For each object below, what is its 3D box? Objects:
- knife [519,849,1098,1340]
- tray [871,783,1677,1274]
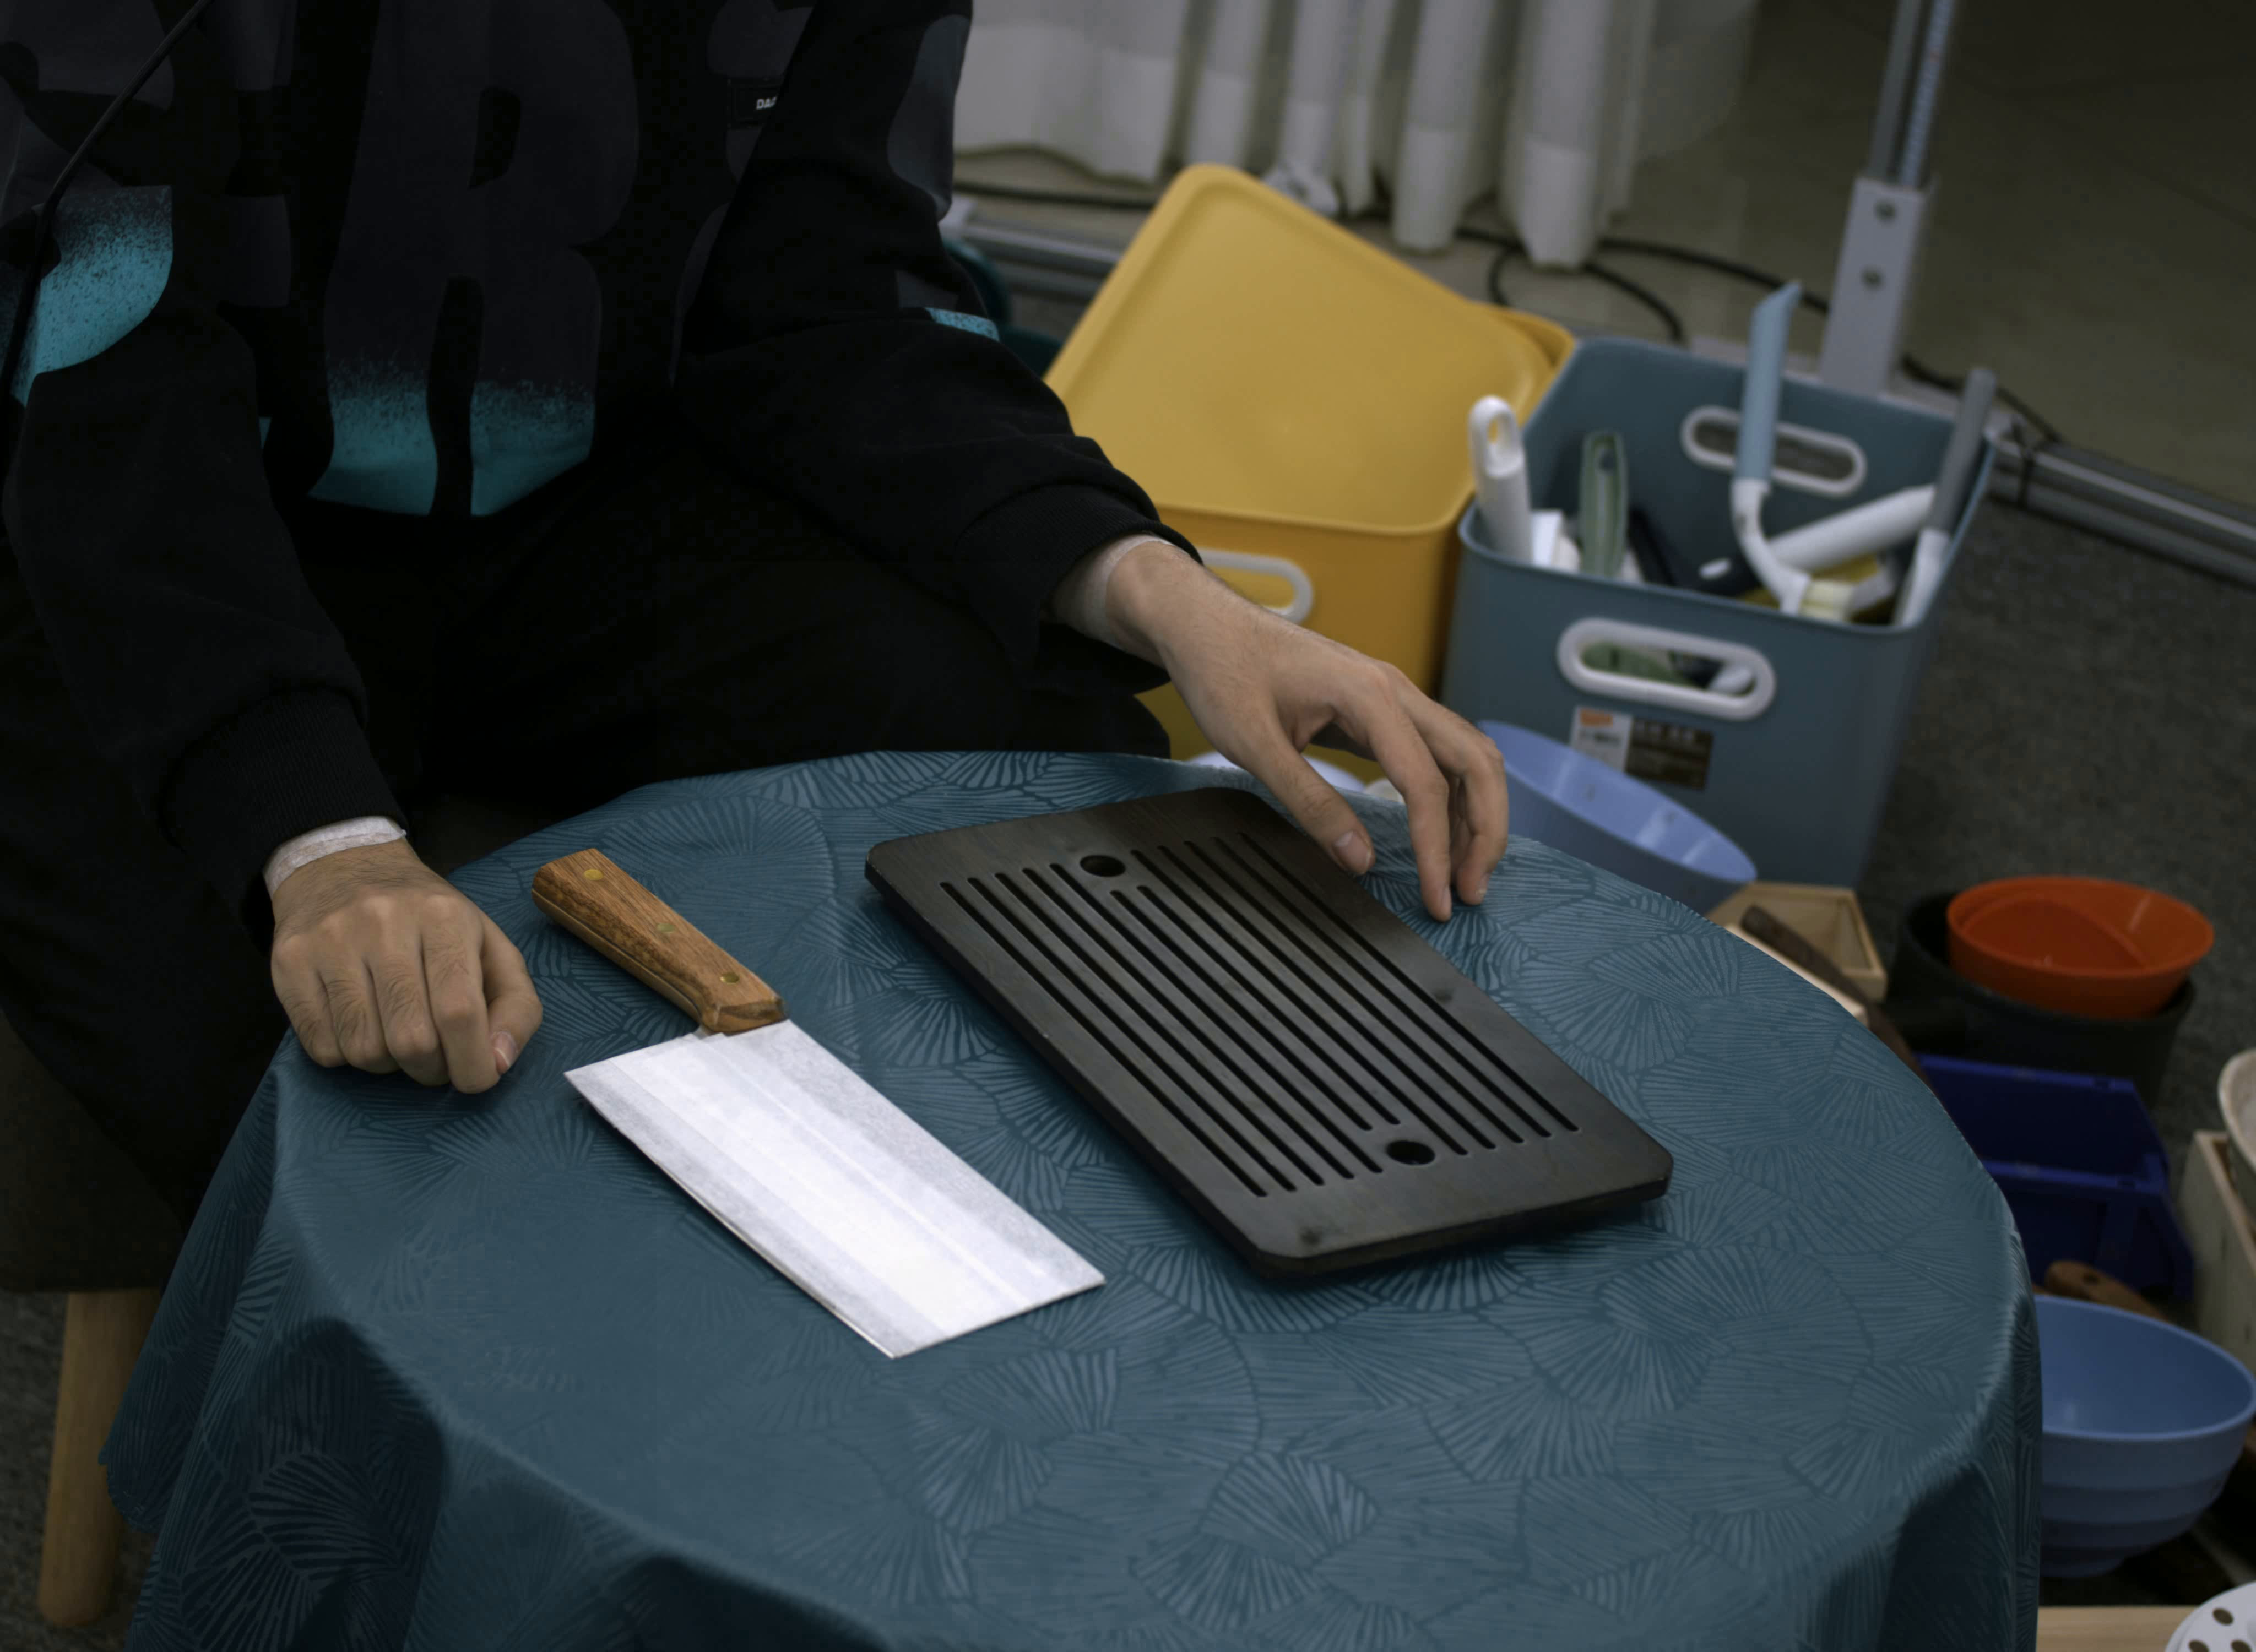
[{"bbox_3d":[-0.134,0.091,1.820,0.092,0.021,0.308,-17,37,-35],"label":"knife"},{"bbox_3d":[0.046,0.069,1.900,0.169,0.018,0.309,-9,31,-28],"label":"tray"}]
